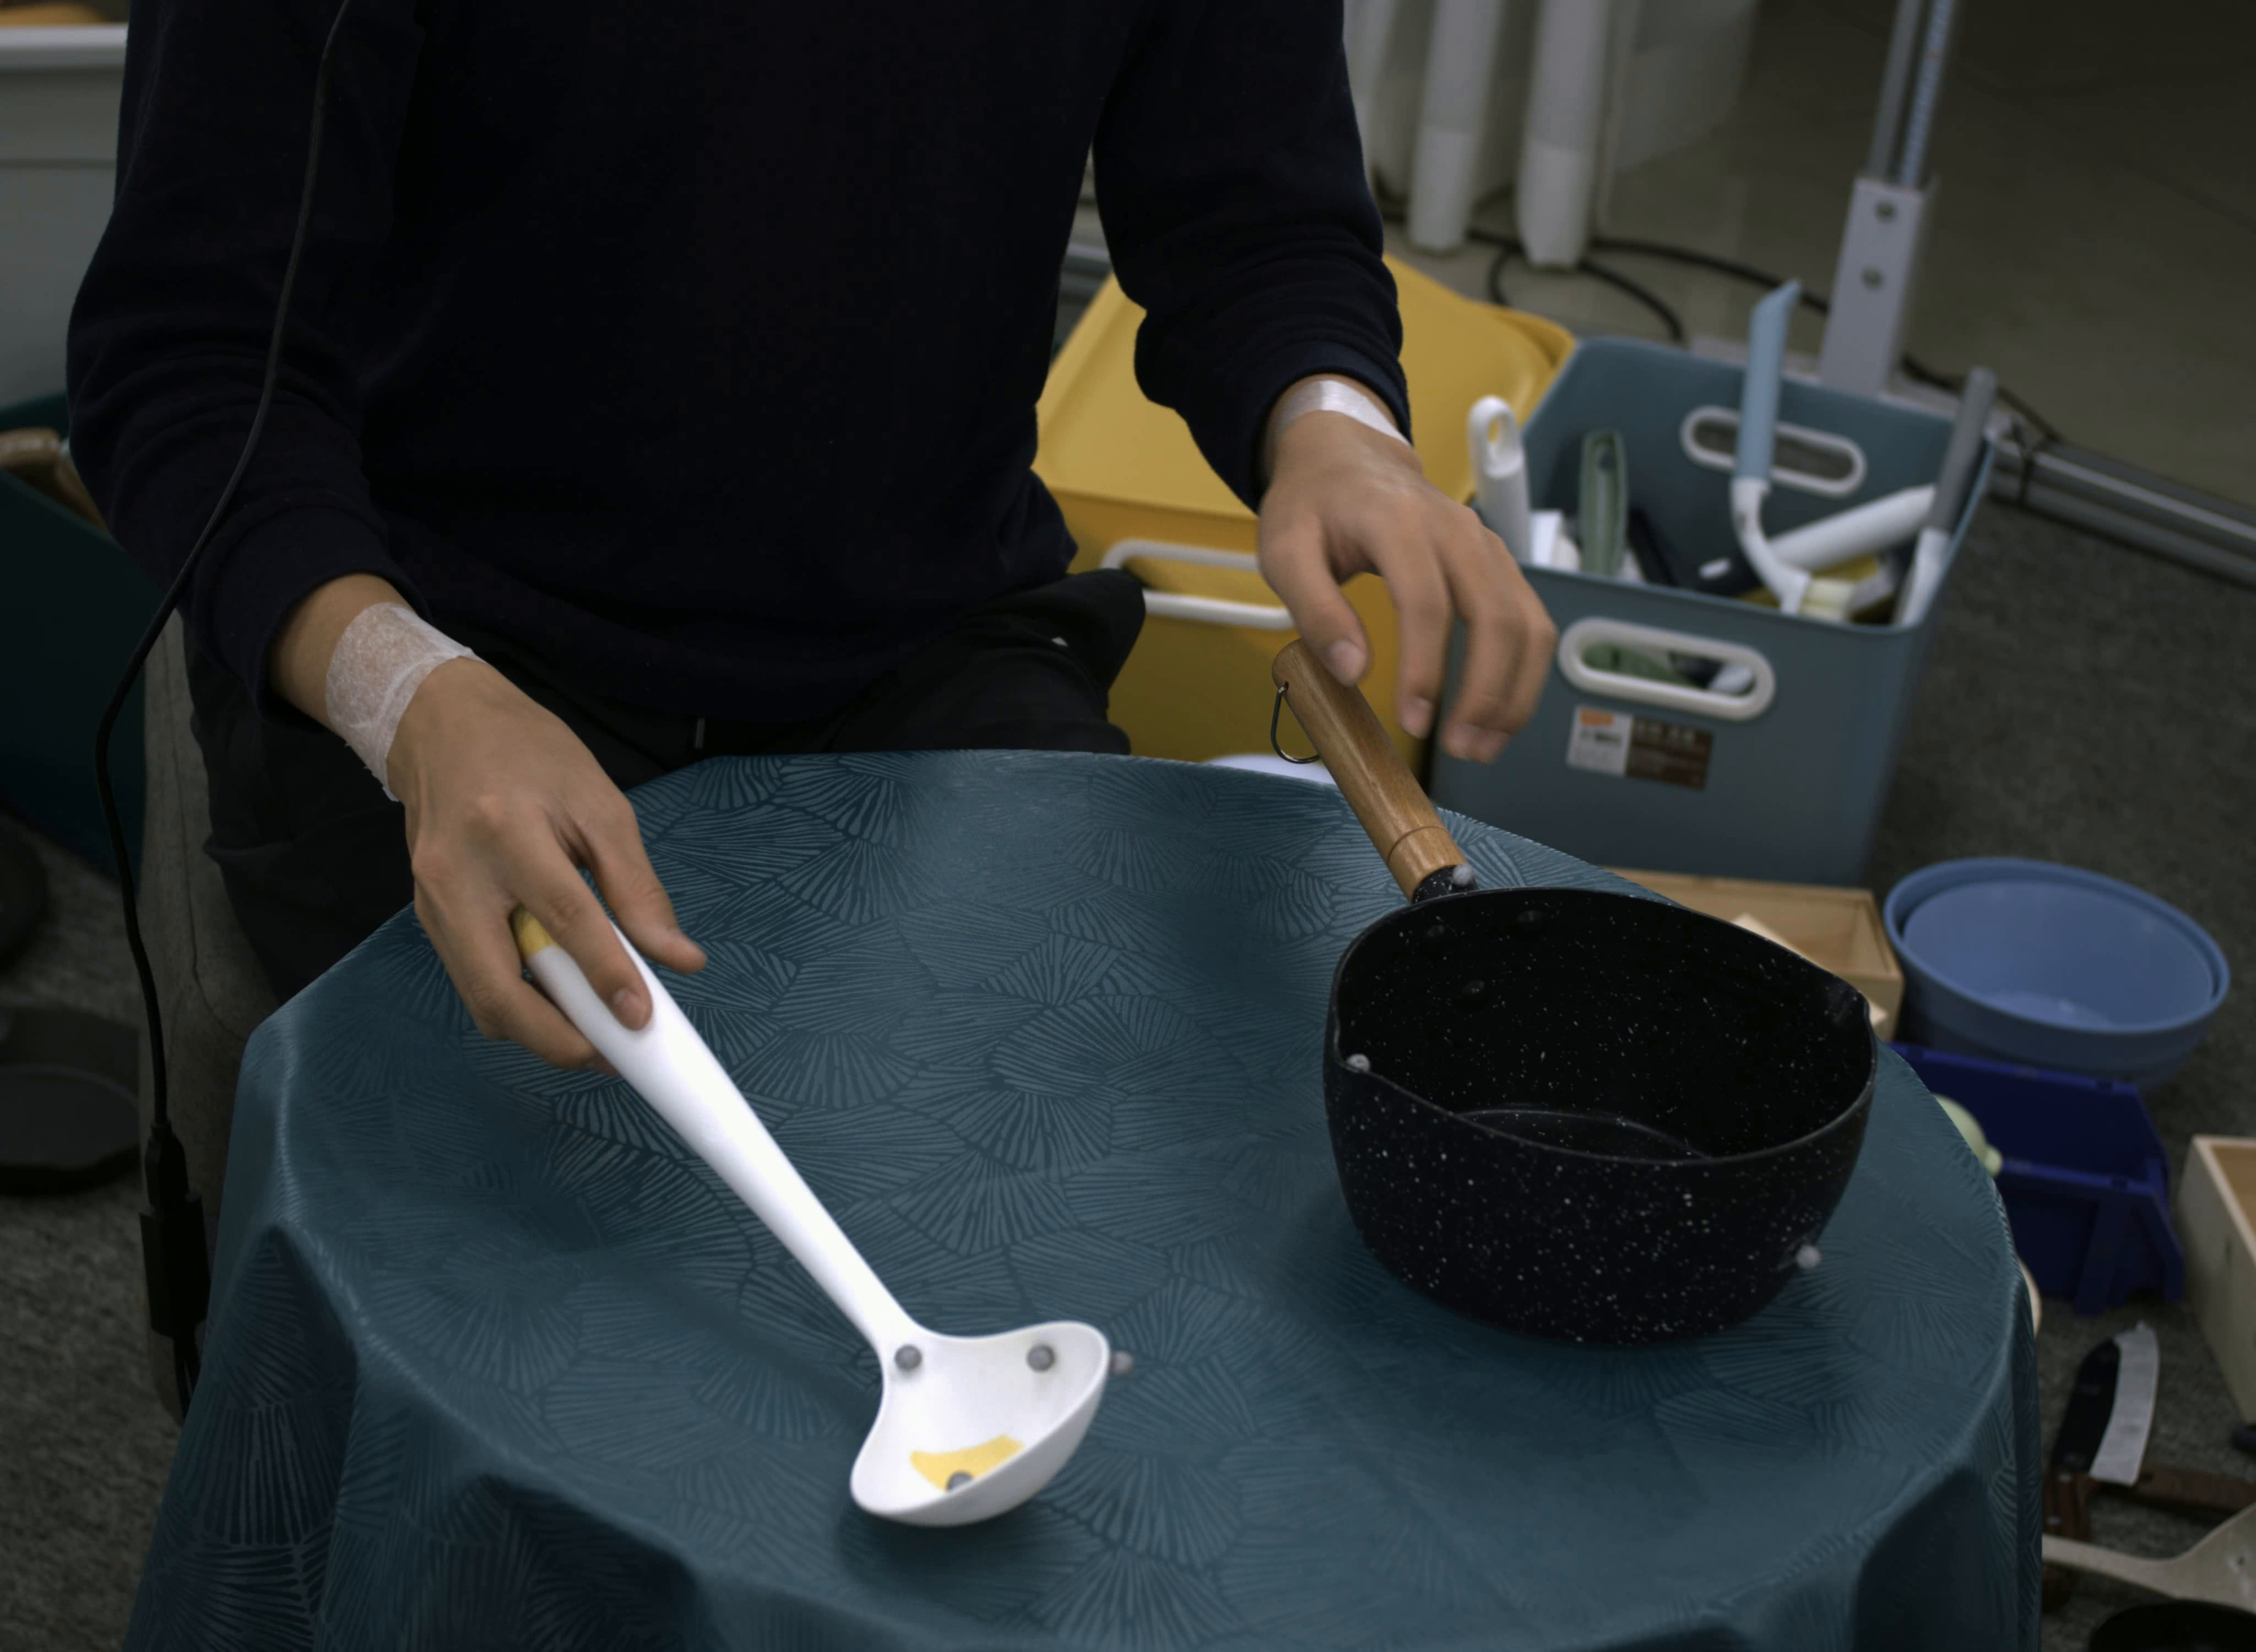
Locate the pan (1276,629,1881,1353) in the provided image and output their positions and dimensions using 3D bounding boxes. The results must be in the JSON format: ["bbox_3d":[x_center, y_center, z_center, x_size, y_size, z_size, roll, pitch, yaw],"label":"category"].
[{"bbox_3d":[0.123,0.054,1.847,0.206,0.108,0.346,-7,31,-23],"label":"pan"}]

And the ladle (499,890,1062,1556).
[{"bbox_3d":[-0.119,0.117,1.671,0.090,0.069,0.295,-40,58,-3],"label":"ladle"}]
